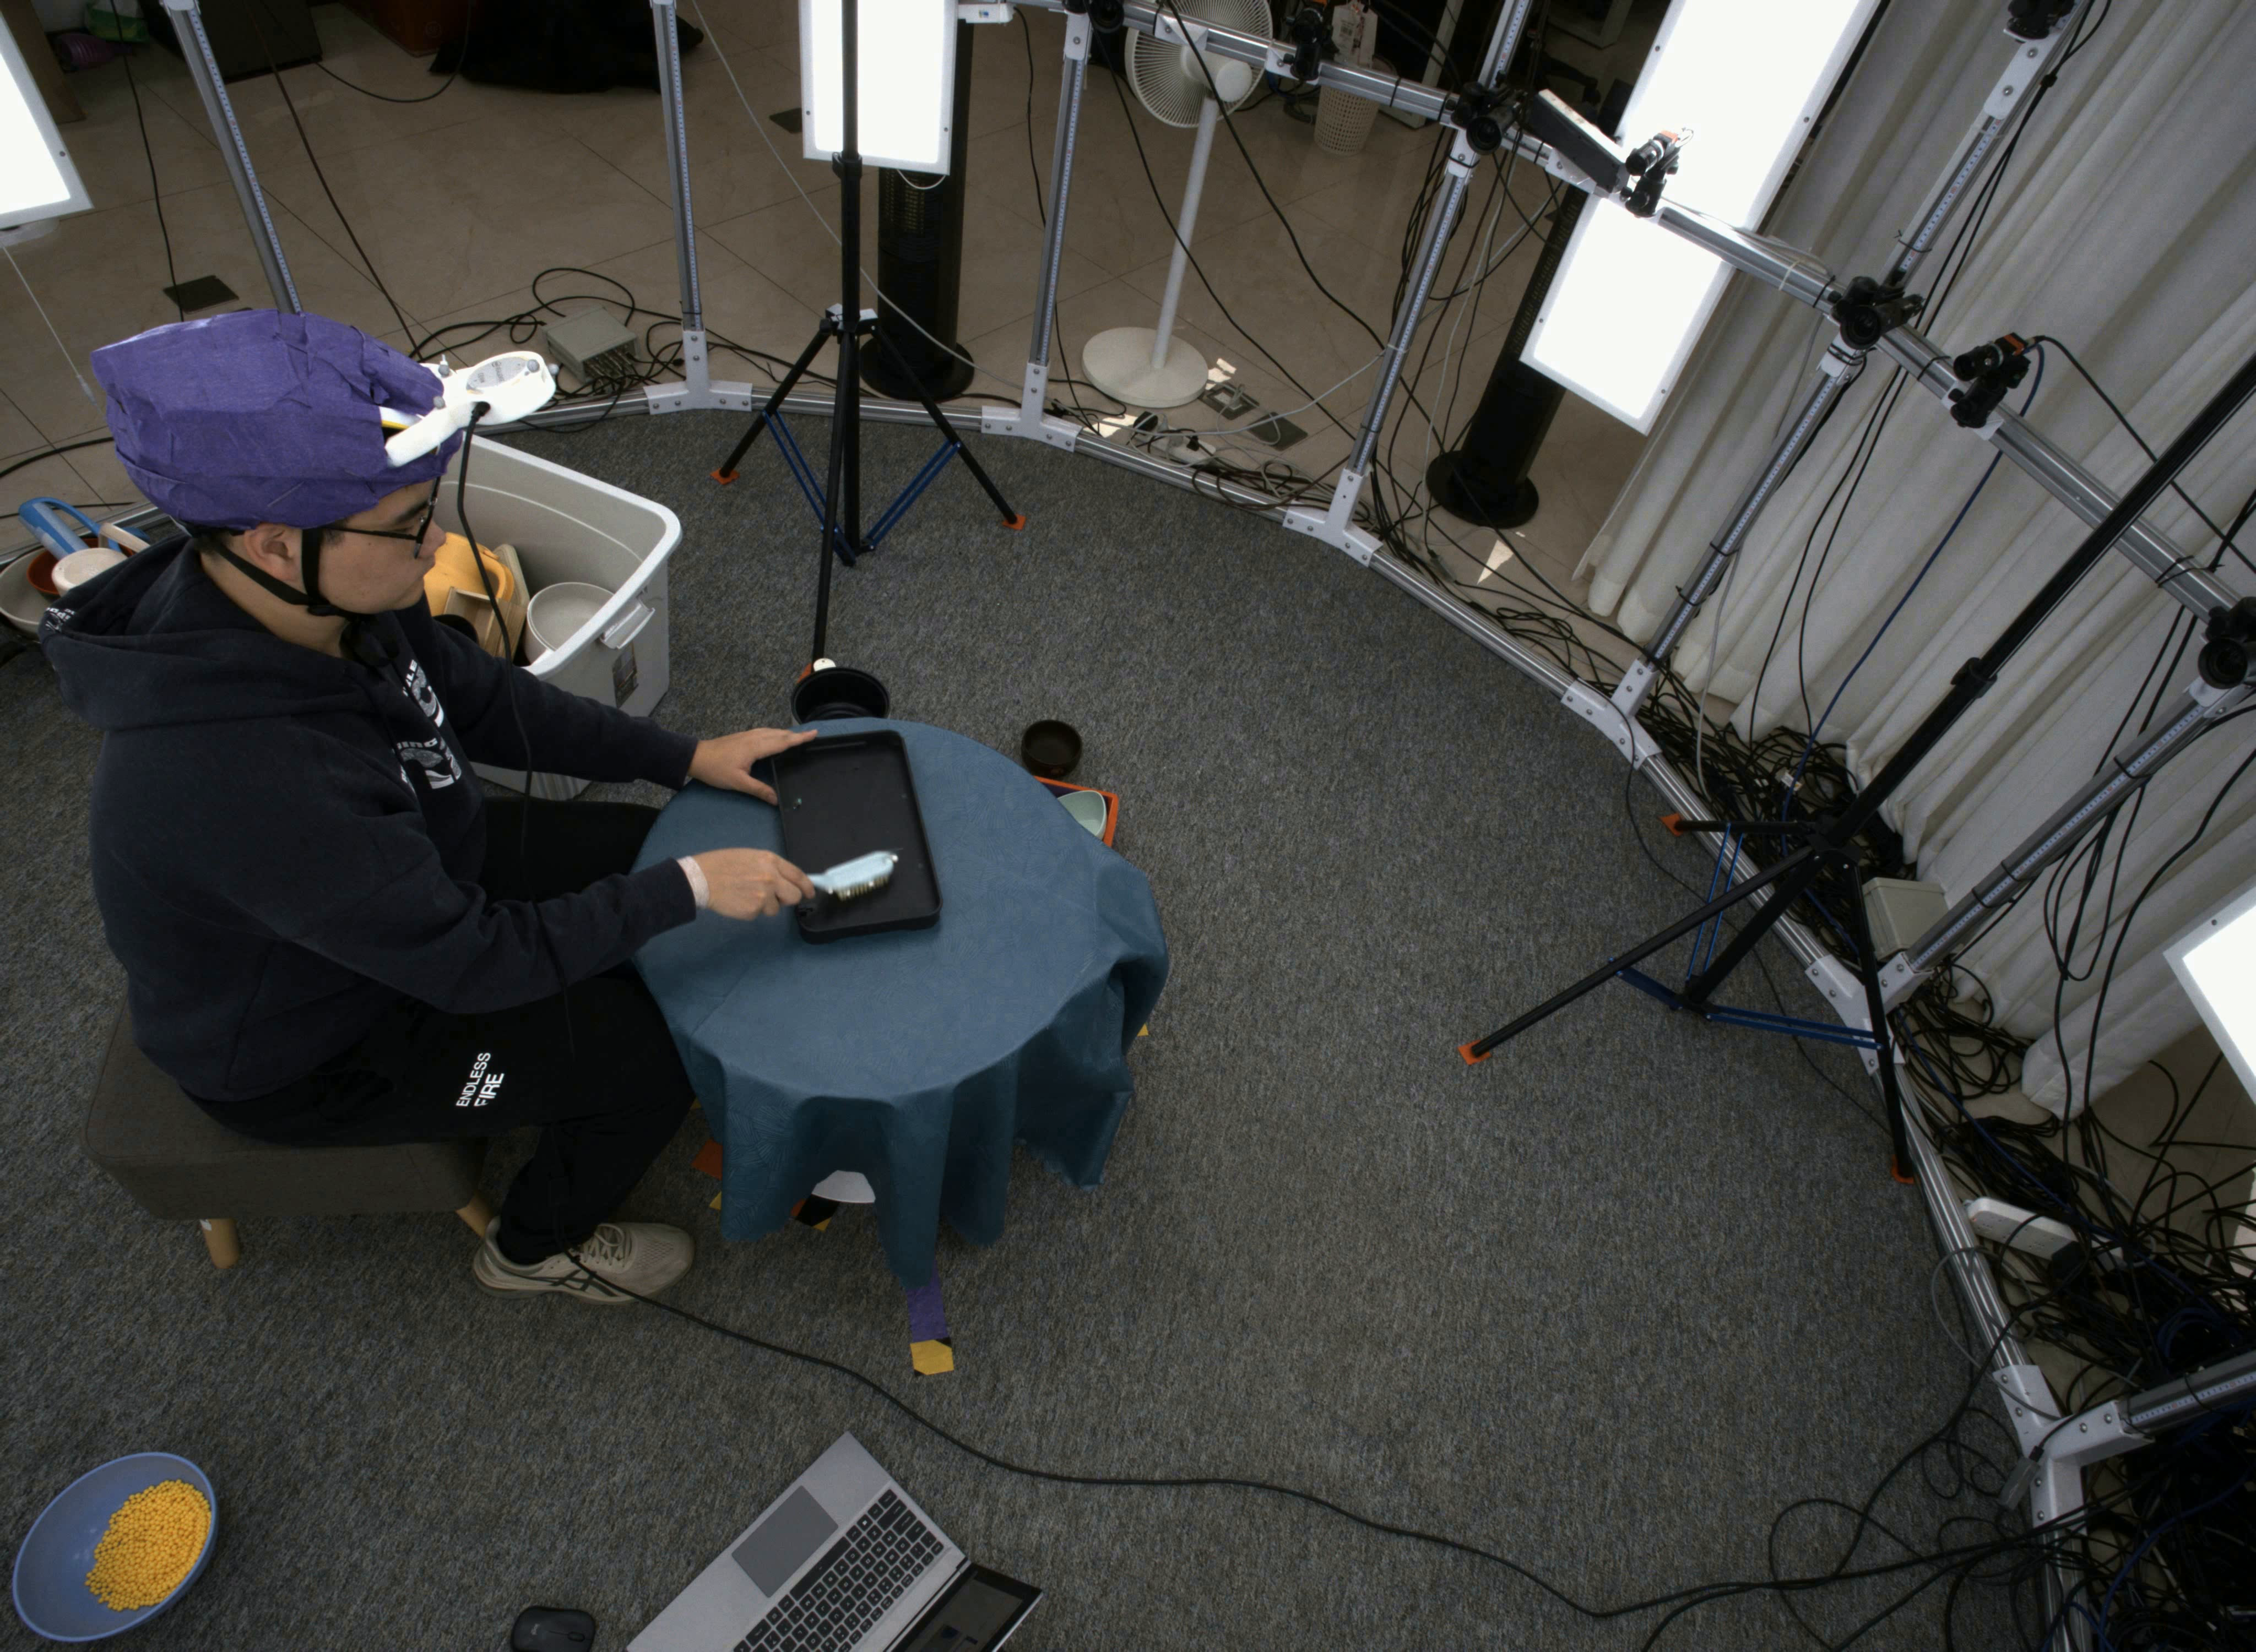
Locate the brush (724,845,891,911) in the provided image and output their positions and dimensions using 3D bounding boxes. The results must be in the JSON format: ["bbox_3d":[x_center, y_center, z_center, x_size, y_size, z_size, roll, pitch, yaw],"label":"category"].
[{"bbox_3d":[-0.397,0.070,1.615,0.231,0.050,0.037,-17,60,-43],"label":"brush"}]

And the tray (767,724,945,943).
[{"bbox_3d":[-0.362,0.002,1.711,0.185,0.038,0.310,-9,57,-19],"label":"tray"}]
